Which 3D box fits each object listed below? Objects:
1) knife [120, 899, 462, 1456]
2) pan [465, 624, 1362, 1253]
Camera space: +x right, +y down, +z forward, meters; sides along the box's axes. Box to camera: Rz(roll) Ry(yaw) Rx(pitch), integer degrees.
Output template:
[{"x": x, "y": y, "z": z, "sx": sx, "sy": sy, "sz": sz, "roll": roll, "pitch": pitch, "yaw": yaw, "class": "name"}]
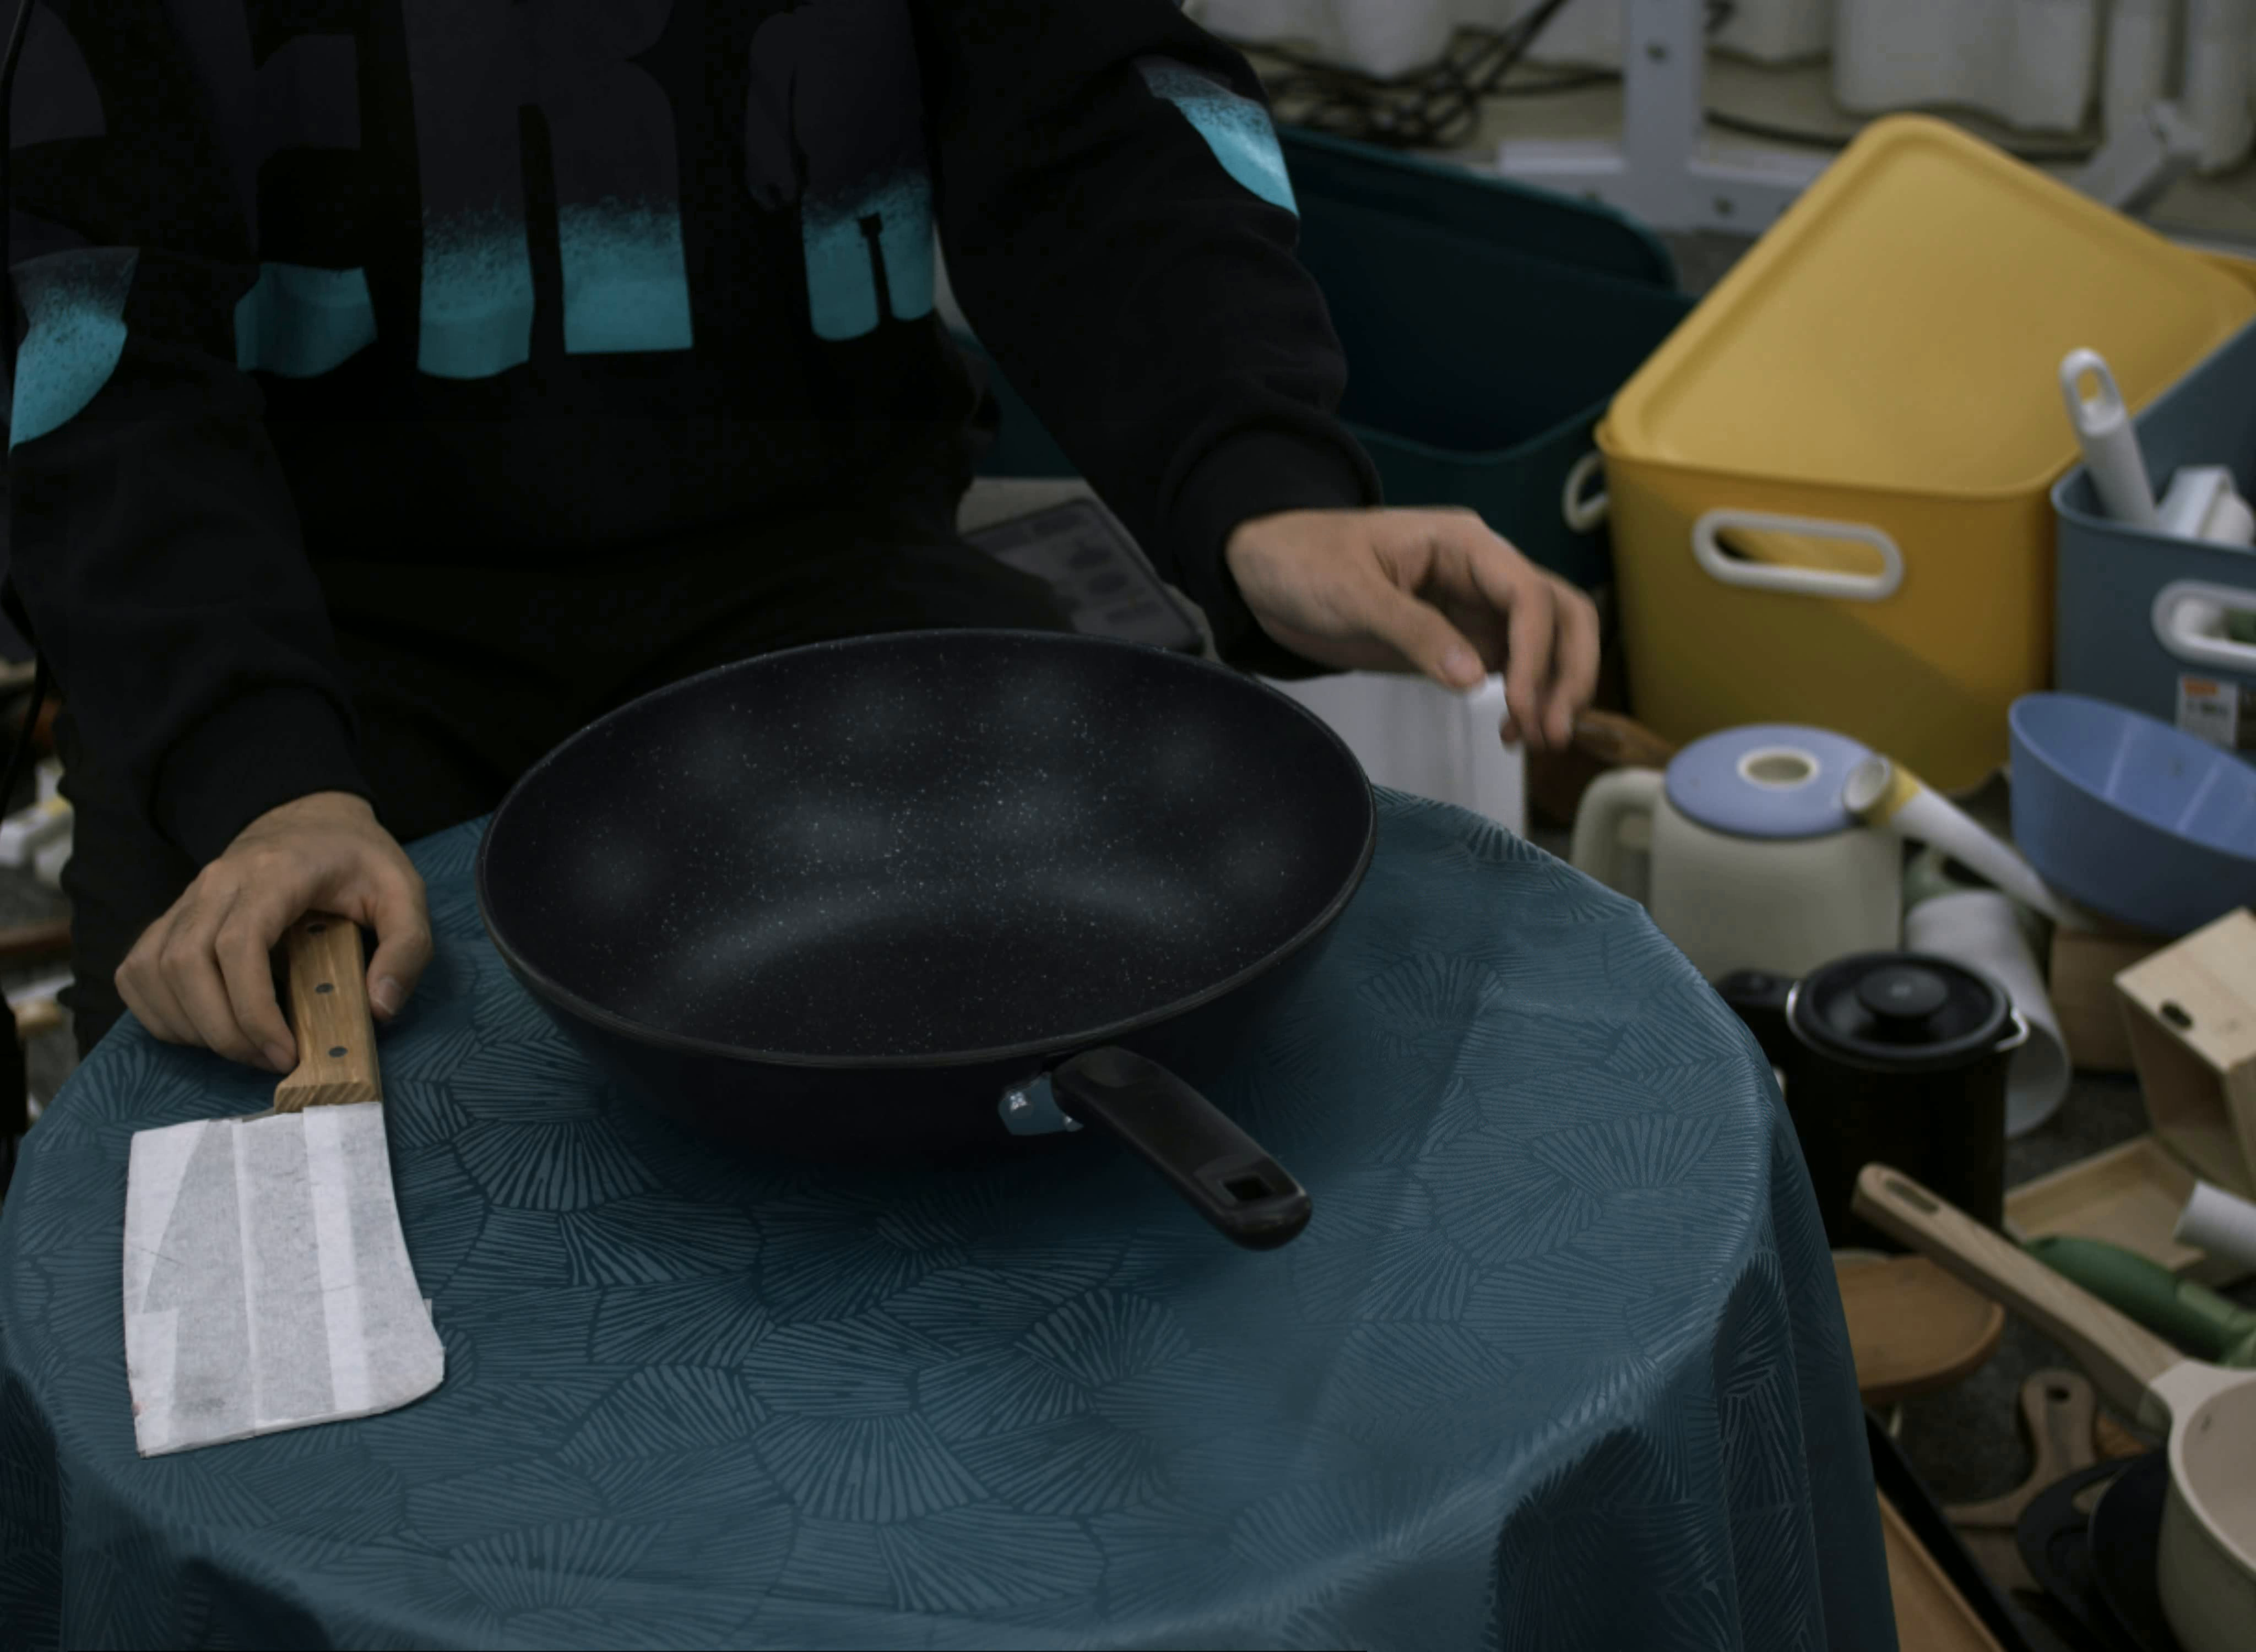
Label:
[{"x": -0.282, "y": 0.114, "z": 1.886, "sx": 0.113, "sy": 0.021, "sz": 0.320, "roll": -6, "pitch": 30, "yaw": -4, "class": "knife"}, {"x": -0.042, "y": 0.062, "z": 1.868, "sx": 0.311, "sy": 0.110, "sz": 0.480, "roll": -14, "pitch": 29, "yaw": -17, "class": "pan"}]
